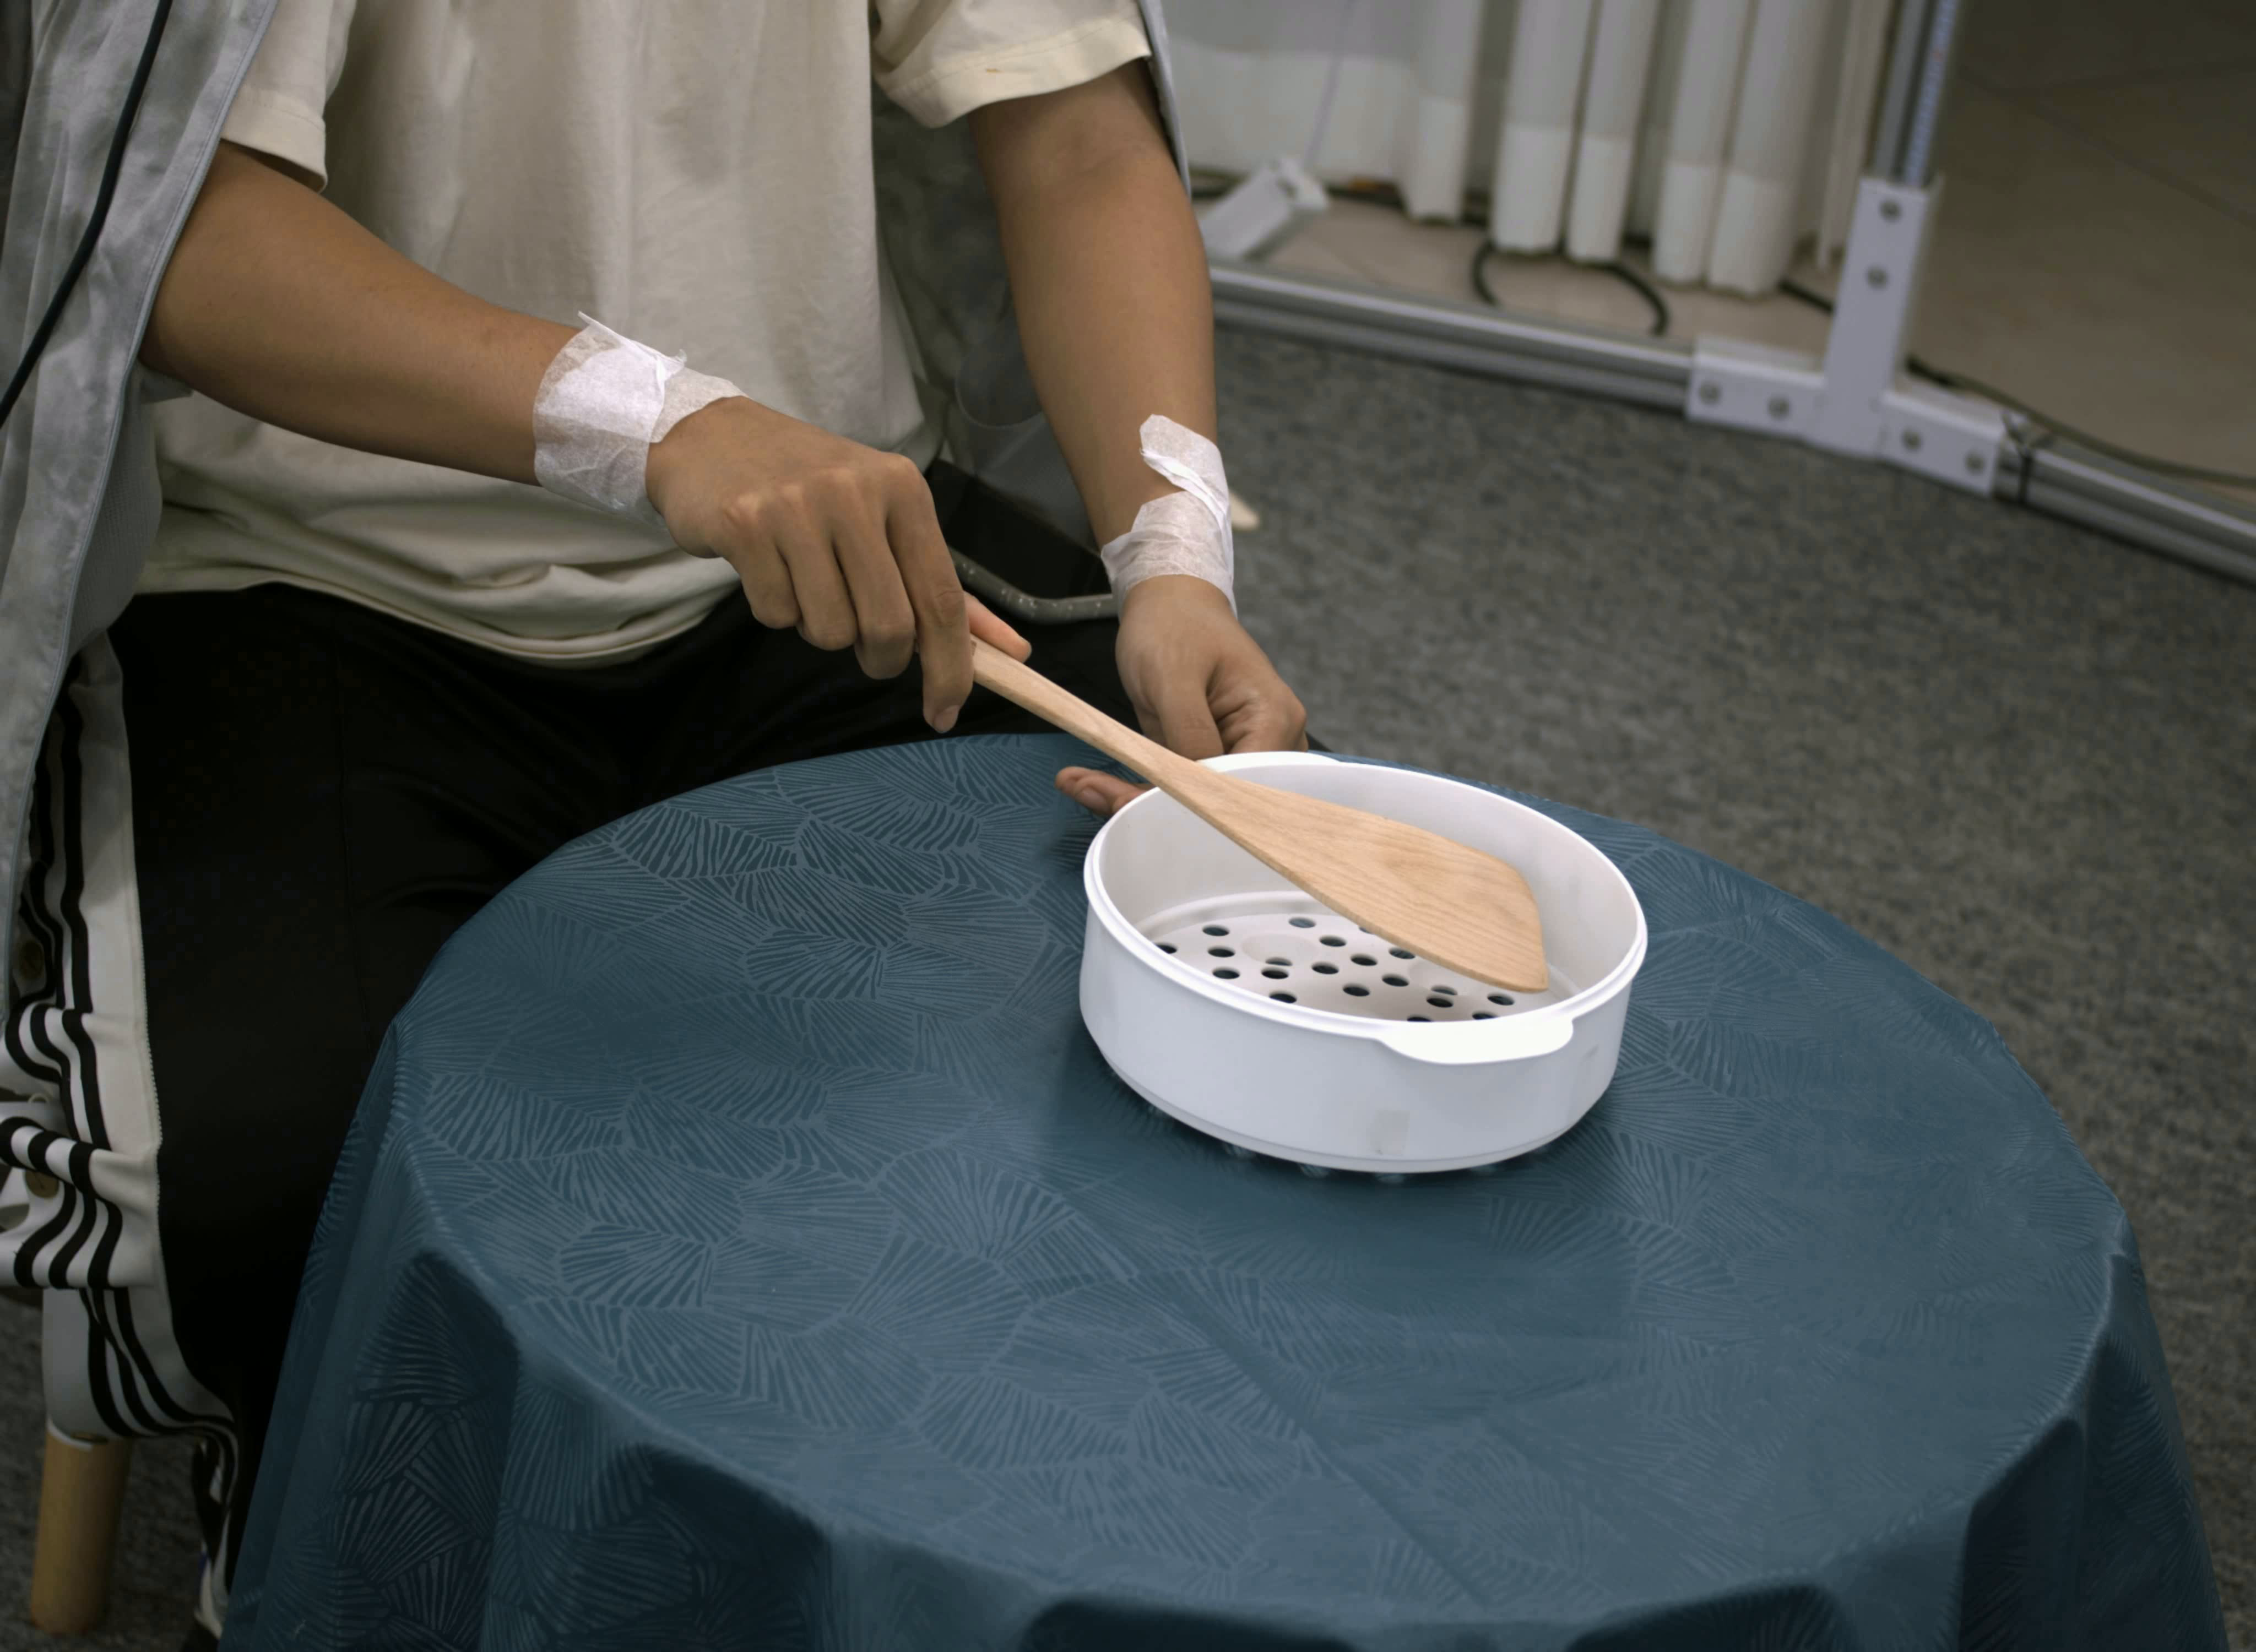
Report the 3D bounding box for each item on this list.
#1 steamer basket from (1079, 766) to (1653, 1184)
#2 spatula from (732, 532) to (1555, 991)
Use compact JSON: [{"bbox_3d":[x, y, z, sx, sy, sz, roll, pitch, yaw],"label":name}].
[{"bbox_3d":[0.082,0.054,1.888,0.200,0.069,0.232,-3,28,-21],"label":"steamer basket"},{"bbox_3d":[0.007,-0.029,1.886,0.326,0.016,0.080,27,30,-8],"label":"spatula"}]
